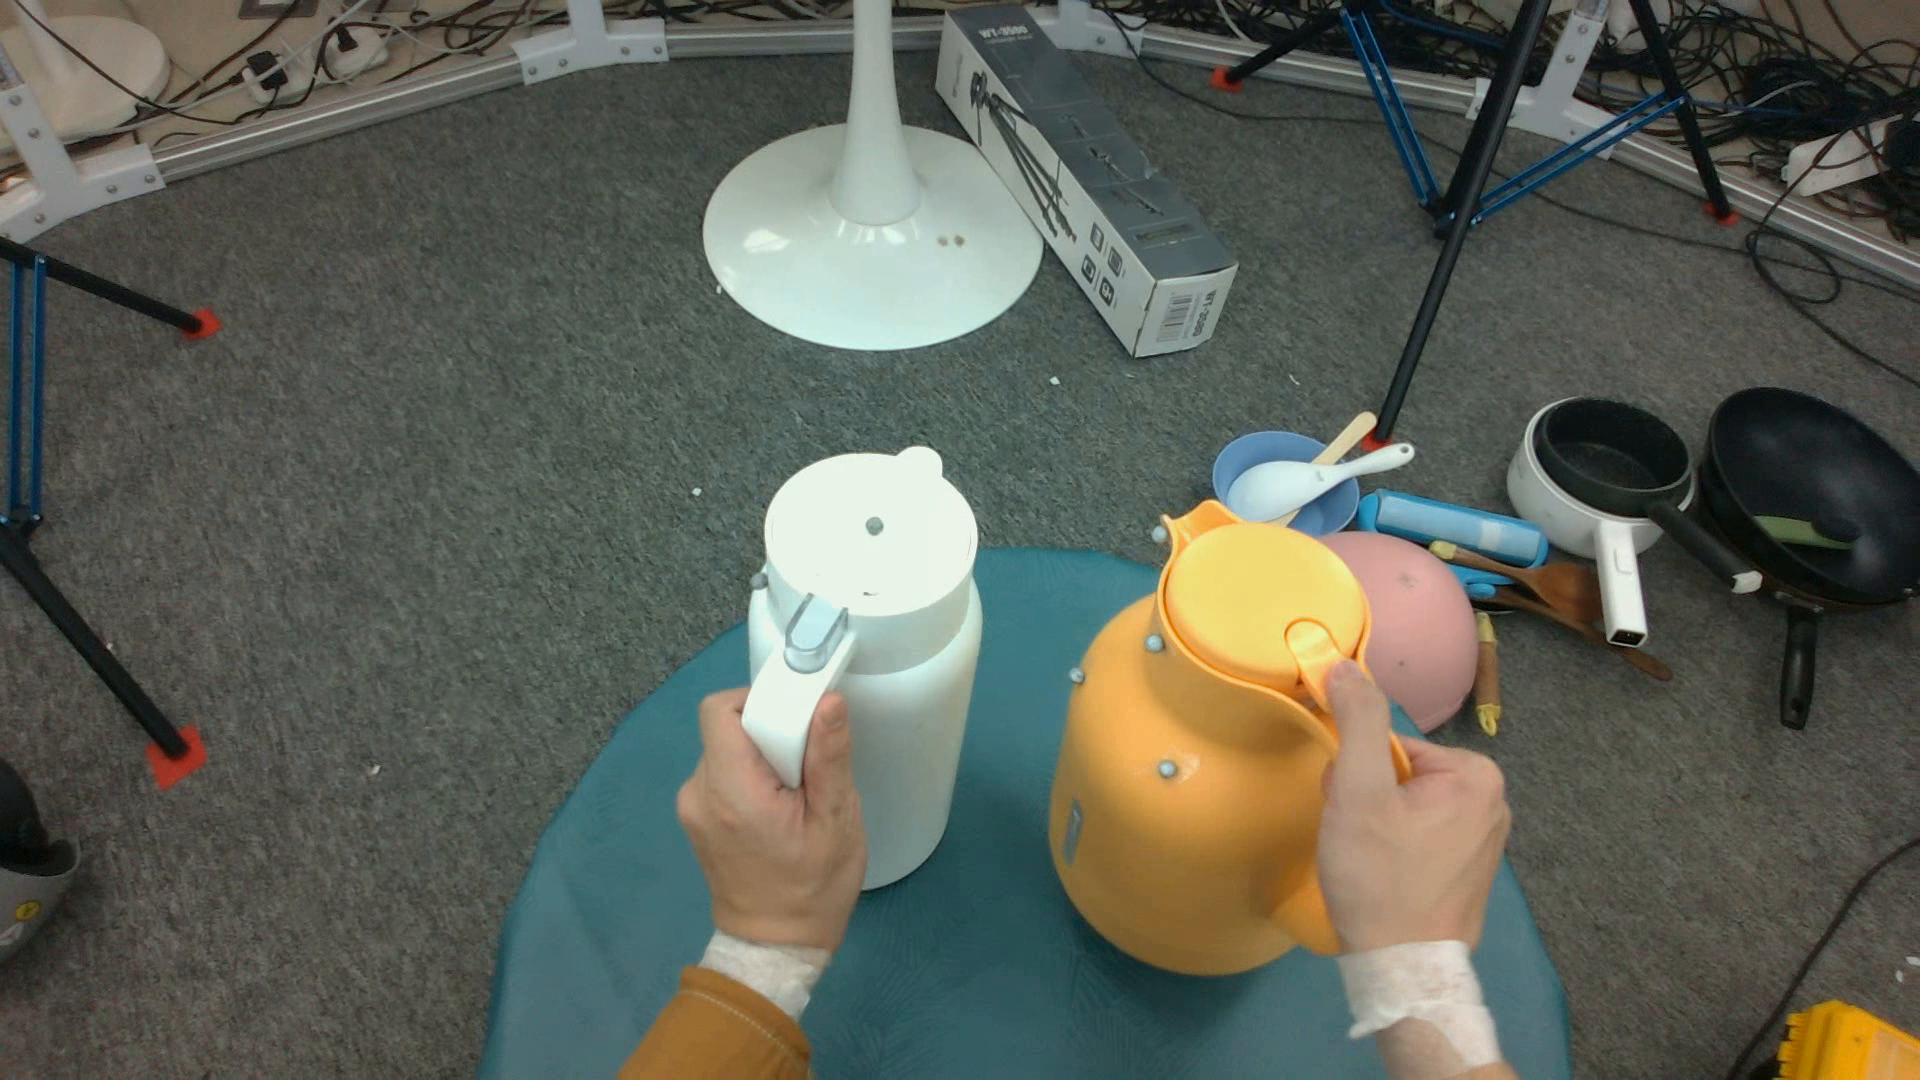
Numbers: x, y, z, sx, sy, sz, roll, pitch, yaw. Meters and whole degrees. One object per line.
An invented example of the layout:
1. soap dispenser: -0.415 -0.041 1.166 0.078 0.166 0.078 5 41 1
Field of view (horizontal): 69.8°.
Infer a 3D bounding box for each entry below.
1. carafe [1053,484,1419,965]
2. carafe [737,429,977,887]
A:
1. carafe: 0.140 0.111 0.696 0.164 0.259 0.203 -19 51 -15
2. carafe: -0.061 0.087 0.722 0.124 0.267 0.174 22 51 8
